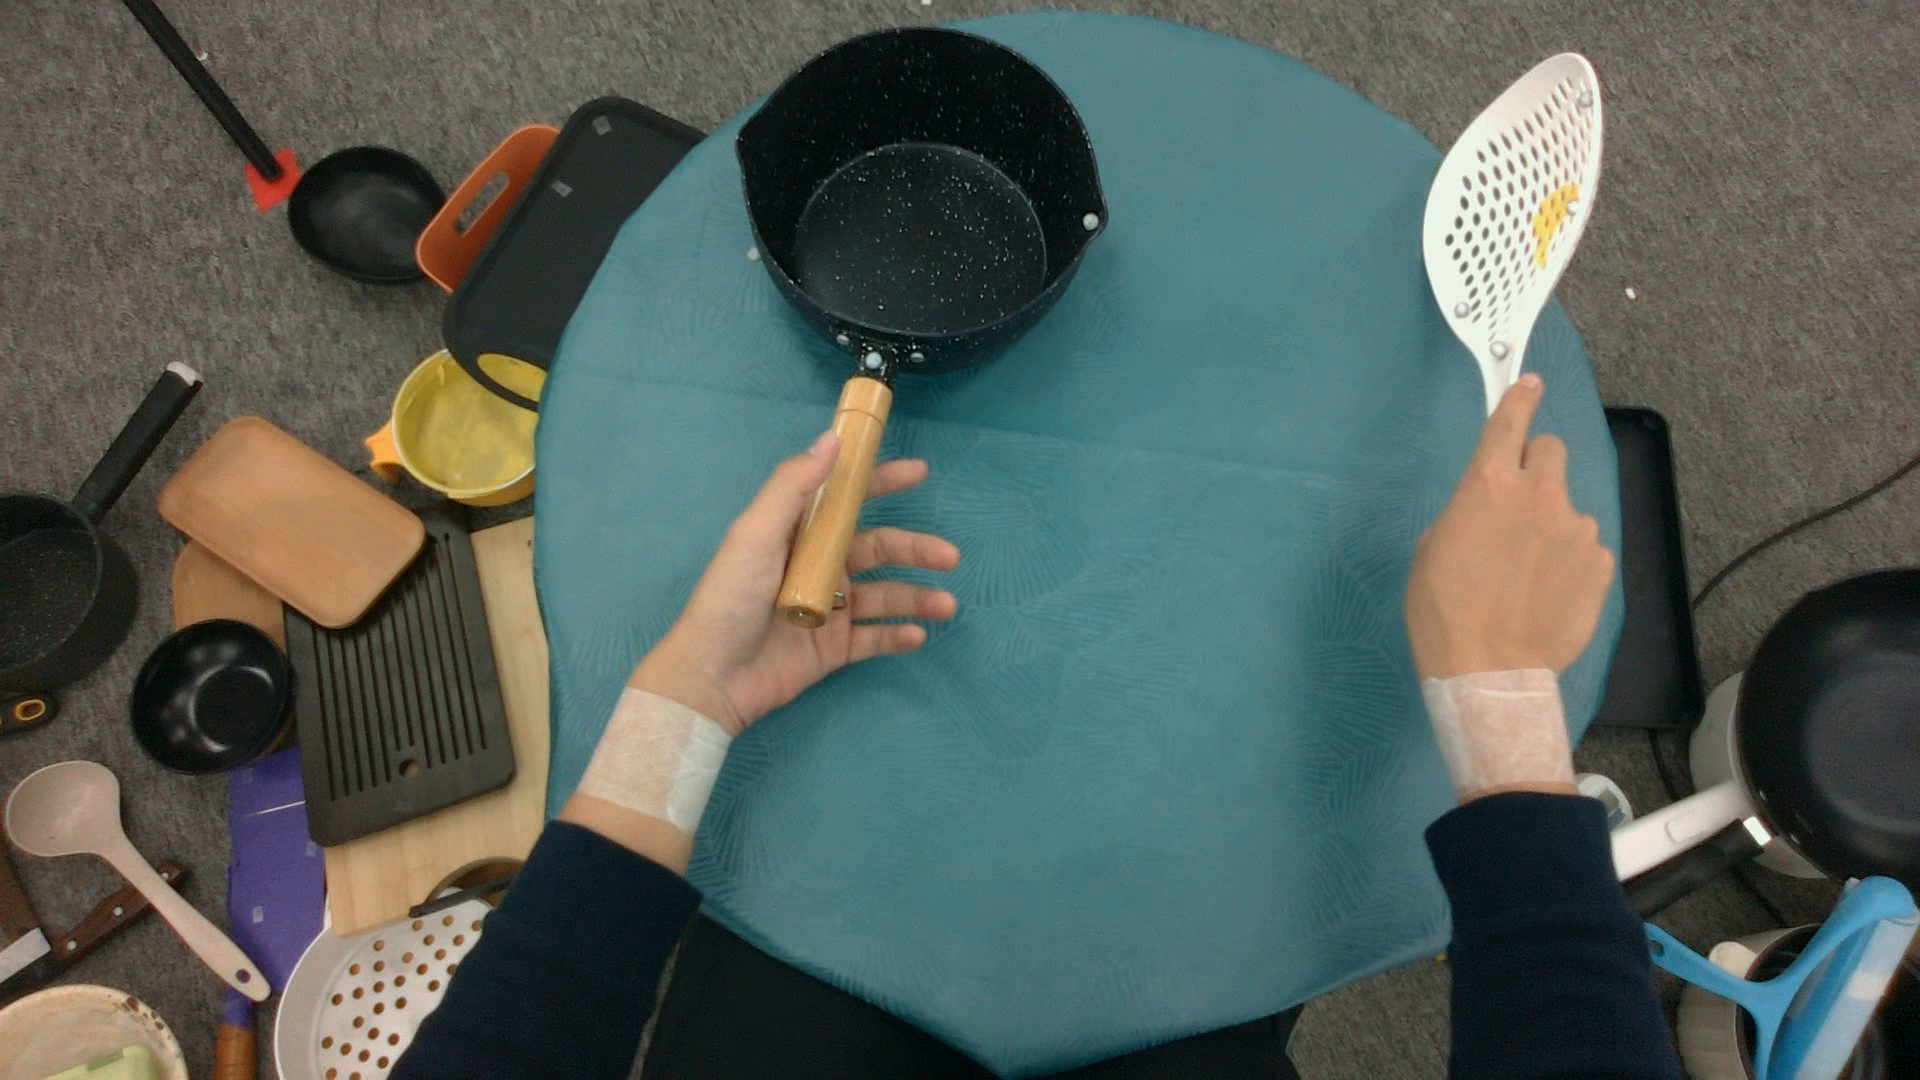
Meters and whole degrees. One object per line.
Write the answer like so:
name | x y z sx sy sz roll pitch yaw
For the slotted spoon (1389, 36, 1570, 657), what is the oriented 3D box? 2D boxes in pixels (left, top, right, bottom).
slotted spoon | 0.277 -0.105 0.713 0.050 0.136 0.349 20 63 -15

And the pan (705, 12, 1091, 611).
pan | -0.047 -0.114 0.720 0.207 0.108 0.344 11 71 0
